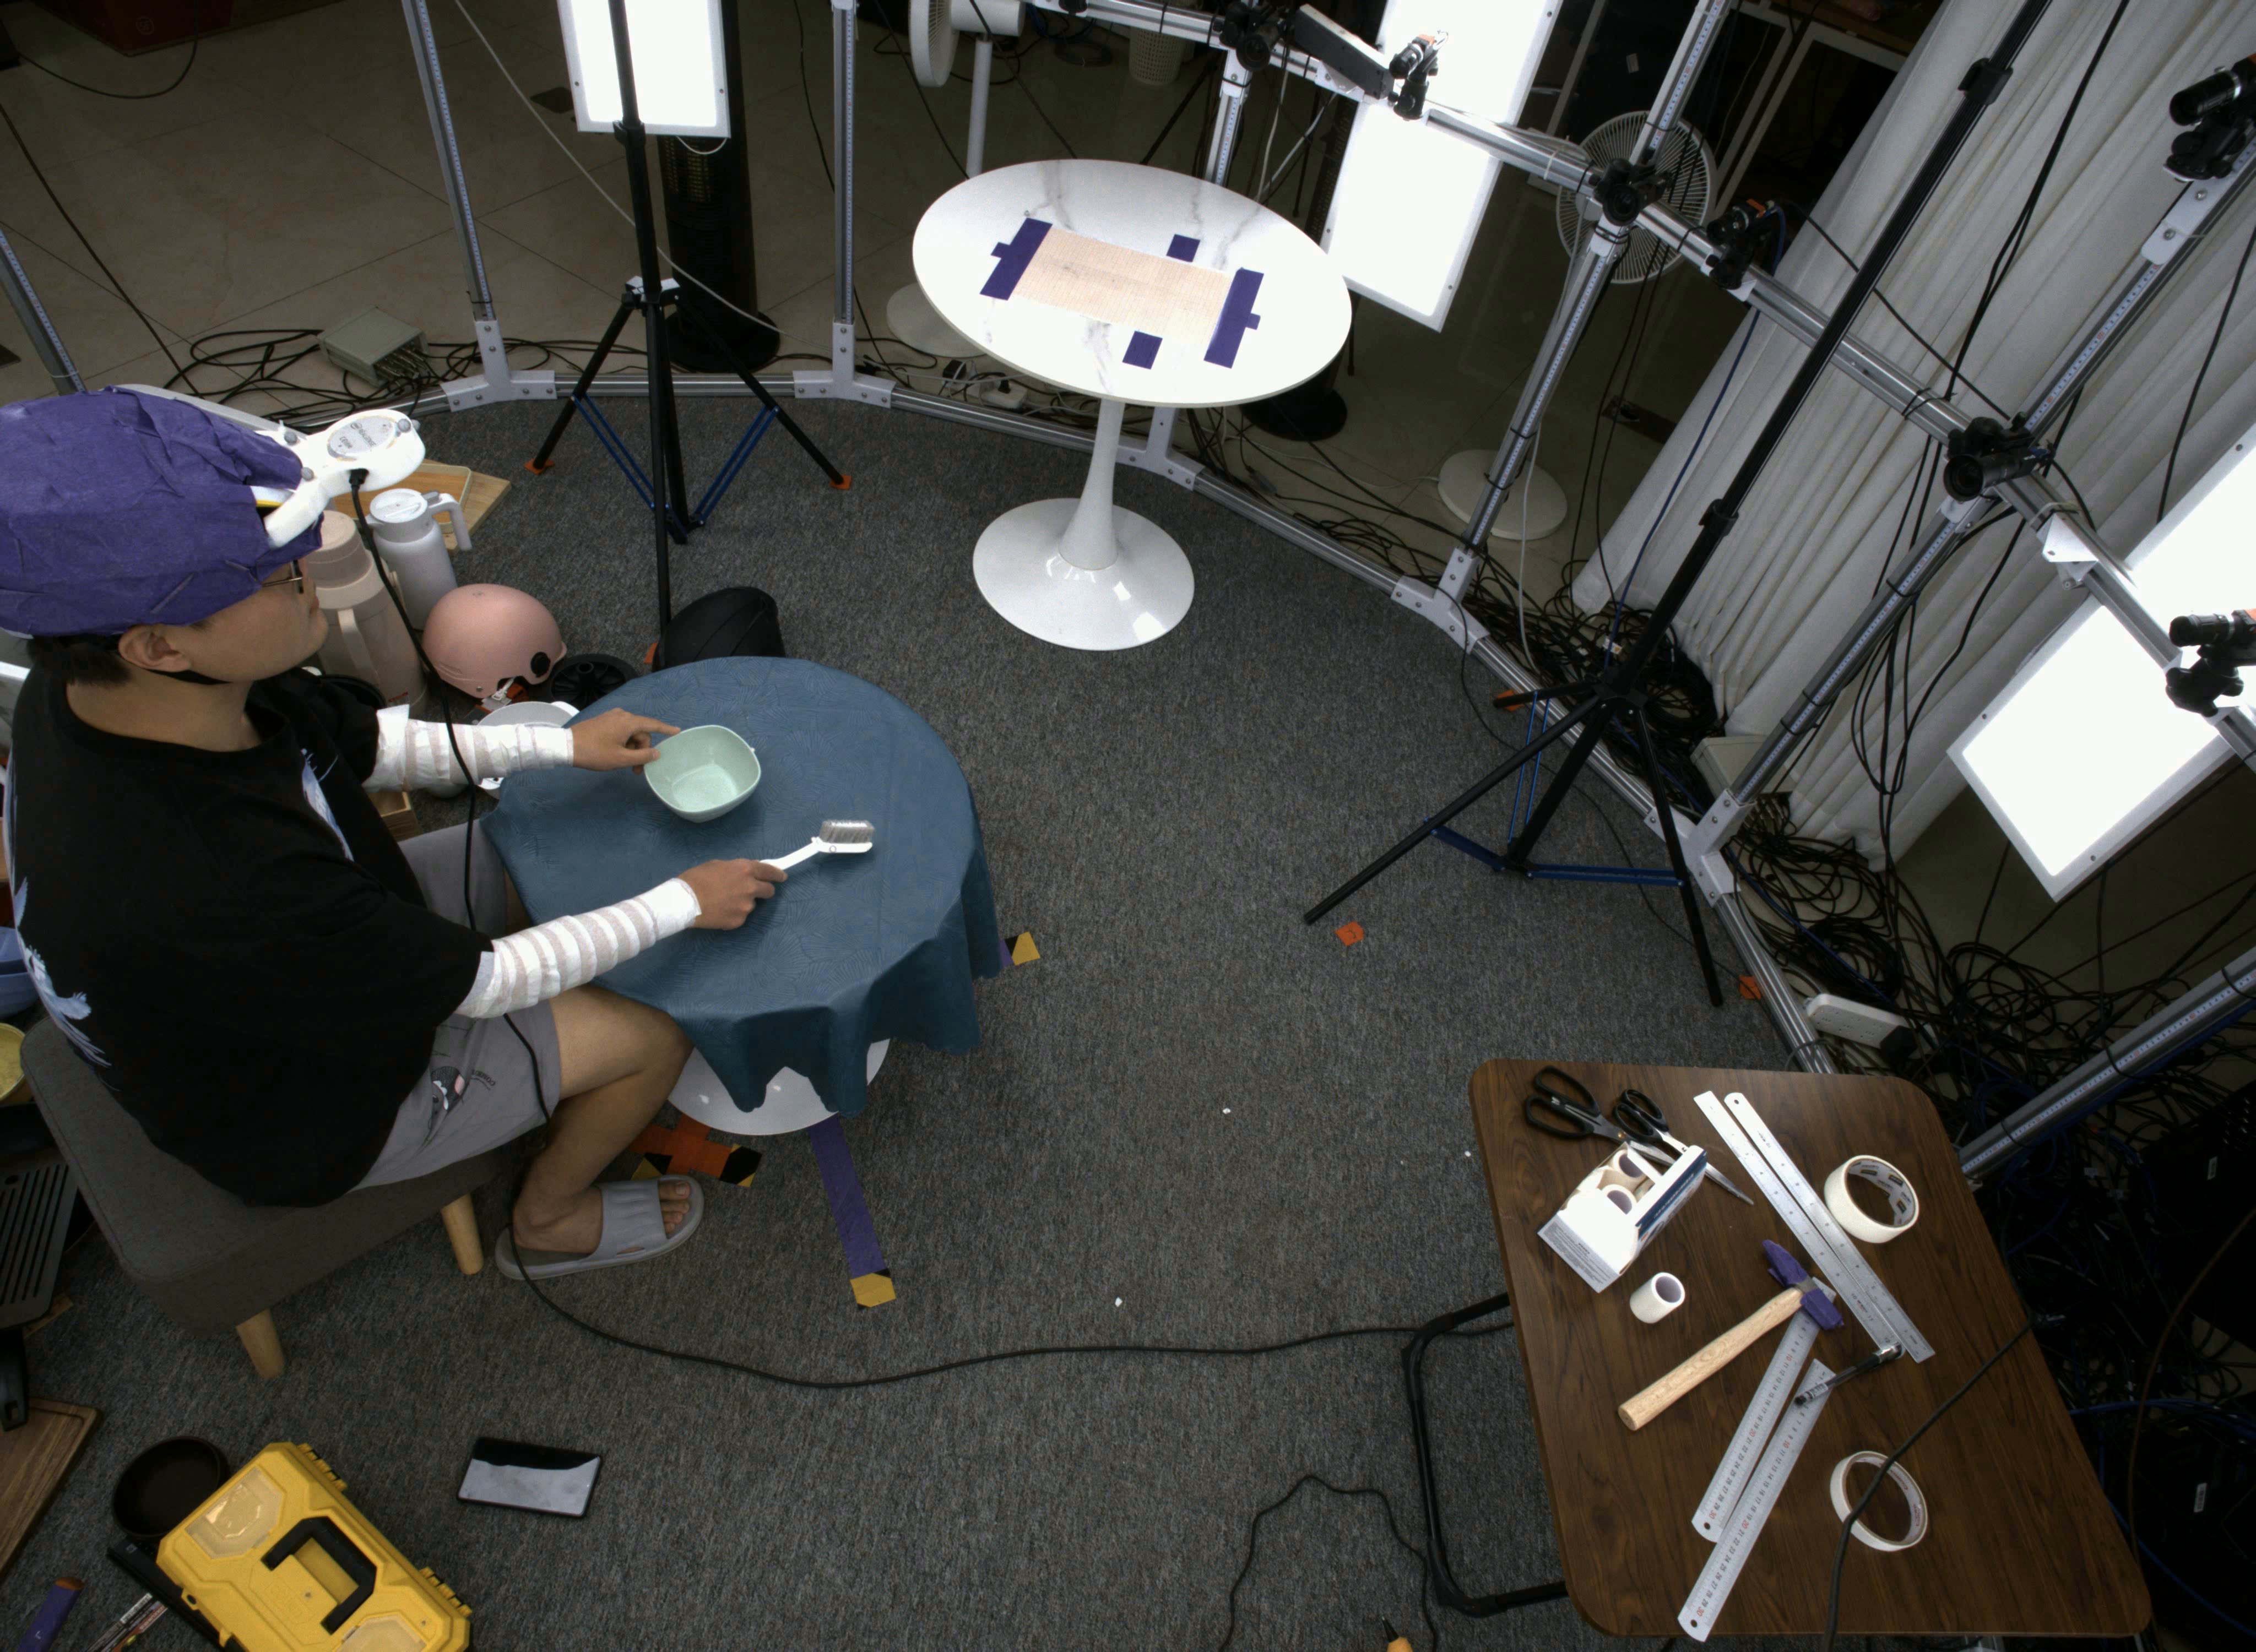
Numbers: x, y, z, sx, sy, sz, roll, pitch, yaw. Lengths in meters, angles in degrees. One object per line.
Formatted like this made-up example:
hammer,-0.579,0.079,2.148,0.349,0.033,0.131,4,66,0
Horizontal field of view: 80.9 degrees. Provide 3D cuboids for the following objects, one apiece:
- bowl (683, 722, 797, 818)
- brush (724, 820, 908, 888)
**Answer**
bowl,-0.516,-0.067,1.723,0.151,0.060,0.148,8,50,-7
brush,-0.402,0.030,1.675,0.245,0.052,0.033,-13,30,-26
